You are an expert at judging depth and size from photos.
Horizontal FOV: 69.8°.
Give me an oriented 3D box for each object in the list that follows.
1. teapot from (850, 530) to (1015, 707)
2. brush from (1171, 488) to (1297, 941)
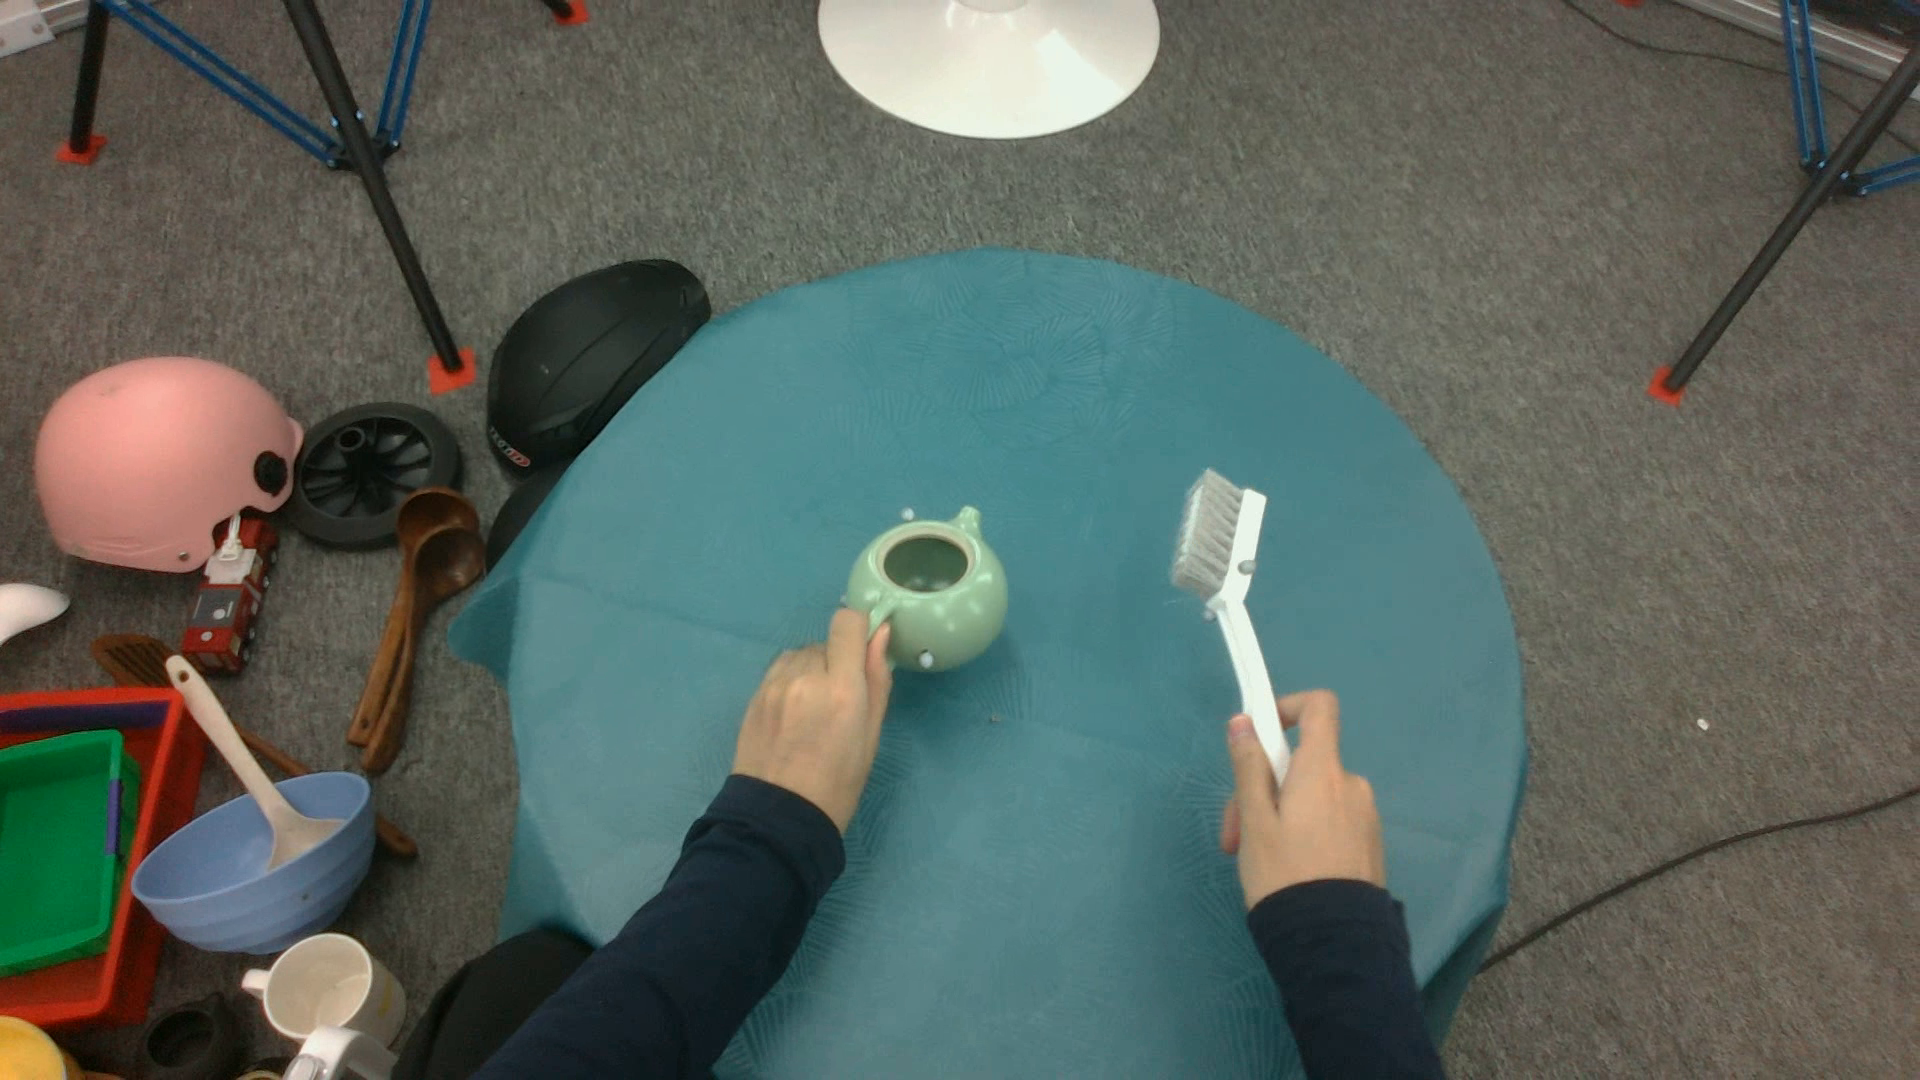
[{"bbox_3d":[-0.020,0.048,0.782,0.091,0.060,0.129,29,48,22],"label":"teapot"},{"bbox_3d":[0.143,0.087,0.731,0.050,0.034,0.244,8,65,-18],"label":"brush"}]
